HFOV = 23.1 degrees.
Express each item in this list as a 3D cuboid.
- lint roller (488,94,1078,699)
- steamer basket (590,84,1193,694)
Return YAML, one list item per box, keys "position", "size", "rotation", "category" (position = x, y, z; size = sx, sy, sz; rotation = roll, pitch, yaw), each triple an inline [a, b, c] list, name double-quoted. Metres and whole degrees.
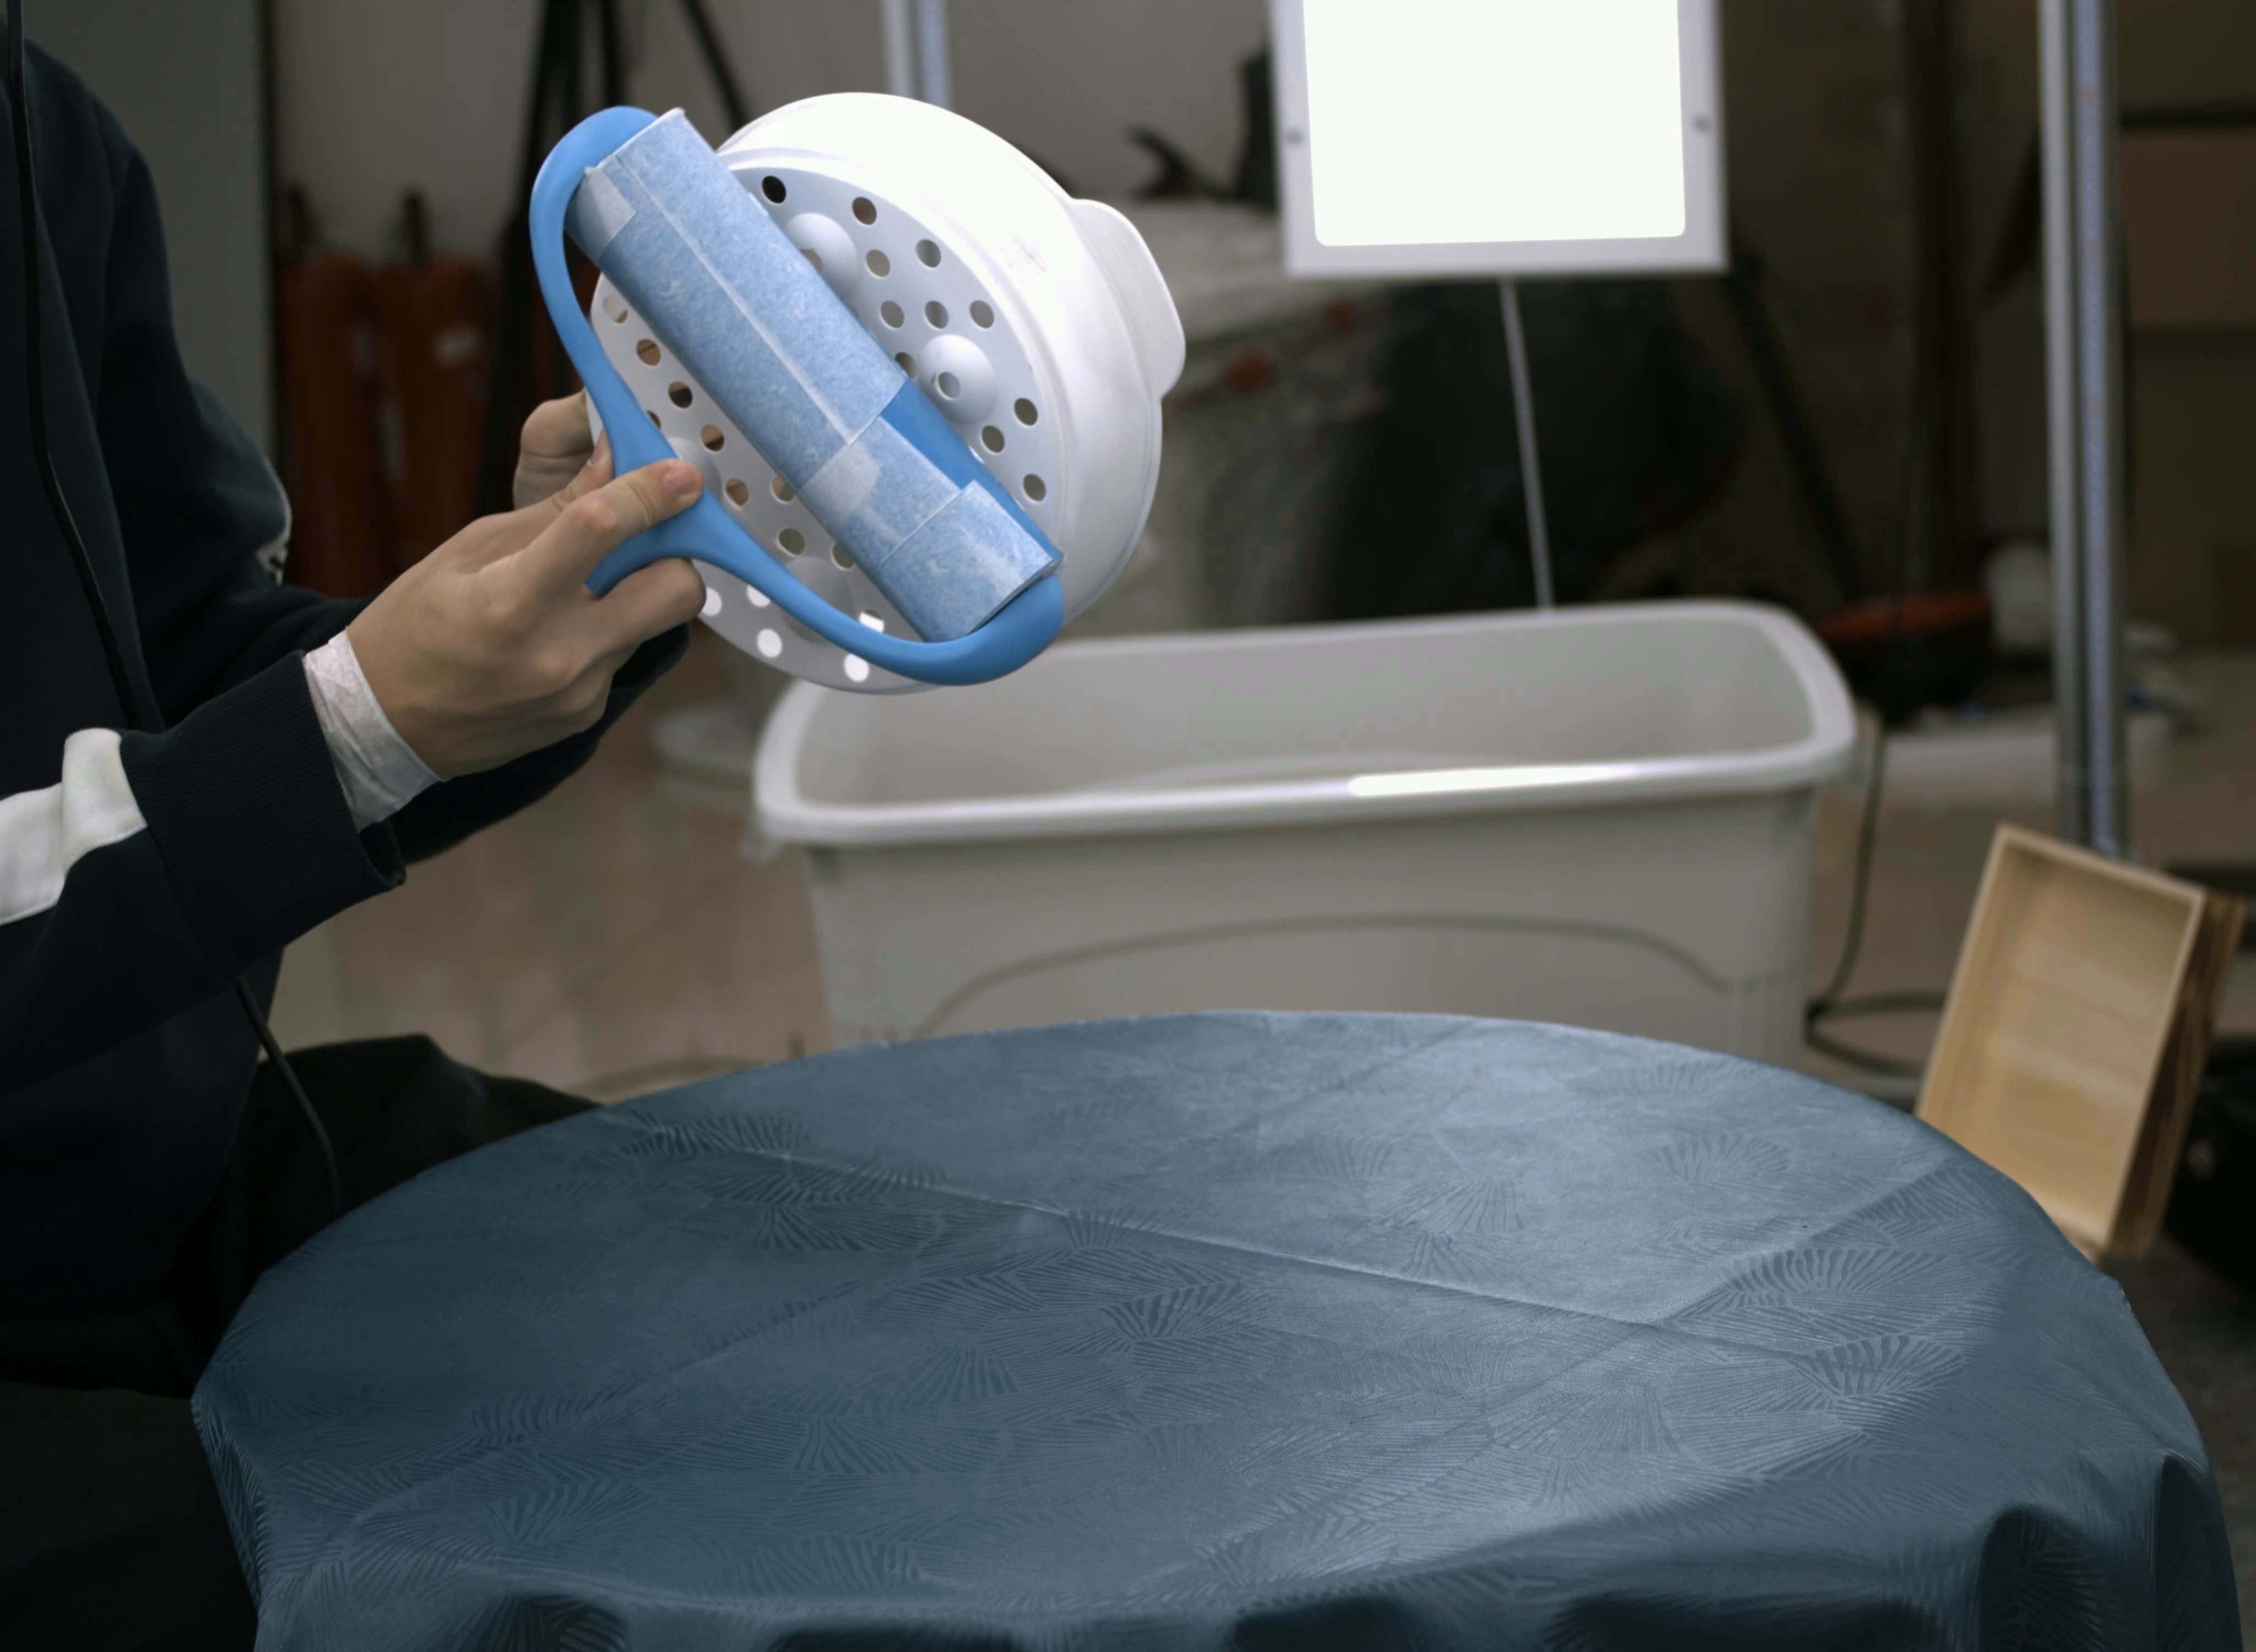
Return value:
- position: [-0.143, -0.105, 1.793]
  size: [0.181, 0.229, 0.067]
  rotation: [-46, -1, 8]
  category: "lint roller"
- position: [-0.087, -0.143, 1.847]
  size: [0.235, 0.202, 0.068]
  rotation: [-17, 11, 37]
  category: "steamer basket"
